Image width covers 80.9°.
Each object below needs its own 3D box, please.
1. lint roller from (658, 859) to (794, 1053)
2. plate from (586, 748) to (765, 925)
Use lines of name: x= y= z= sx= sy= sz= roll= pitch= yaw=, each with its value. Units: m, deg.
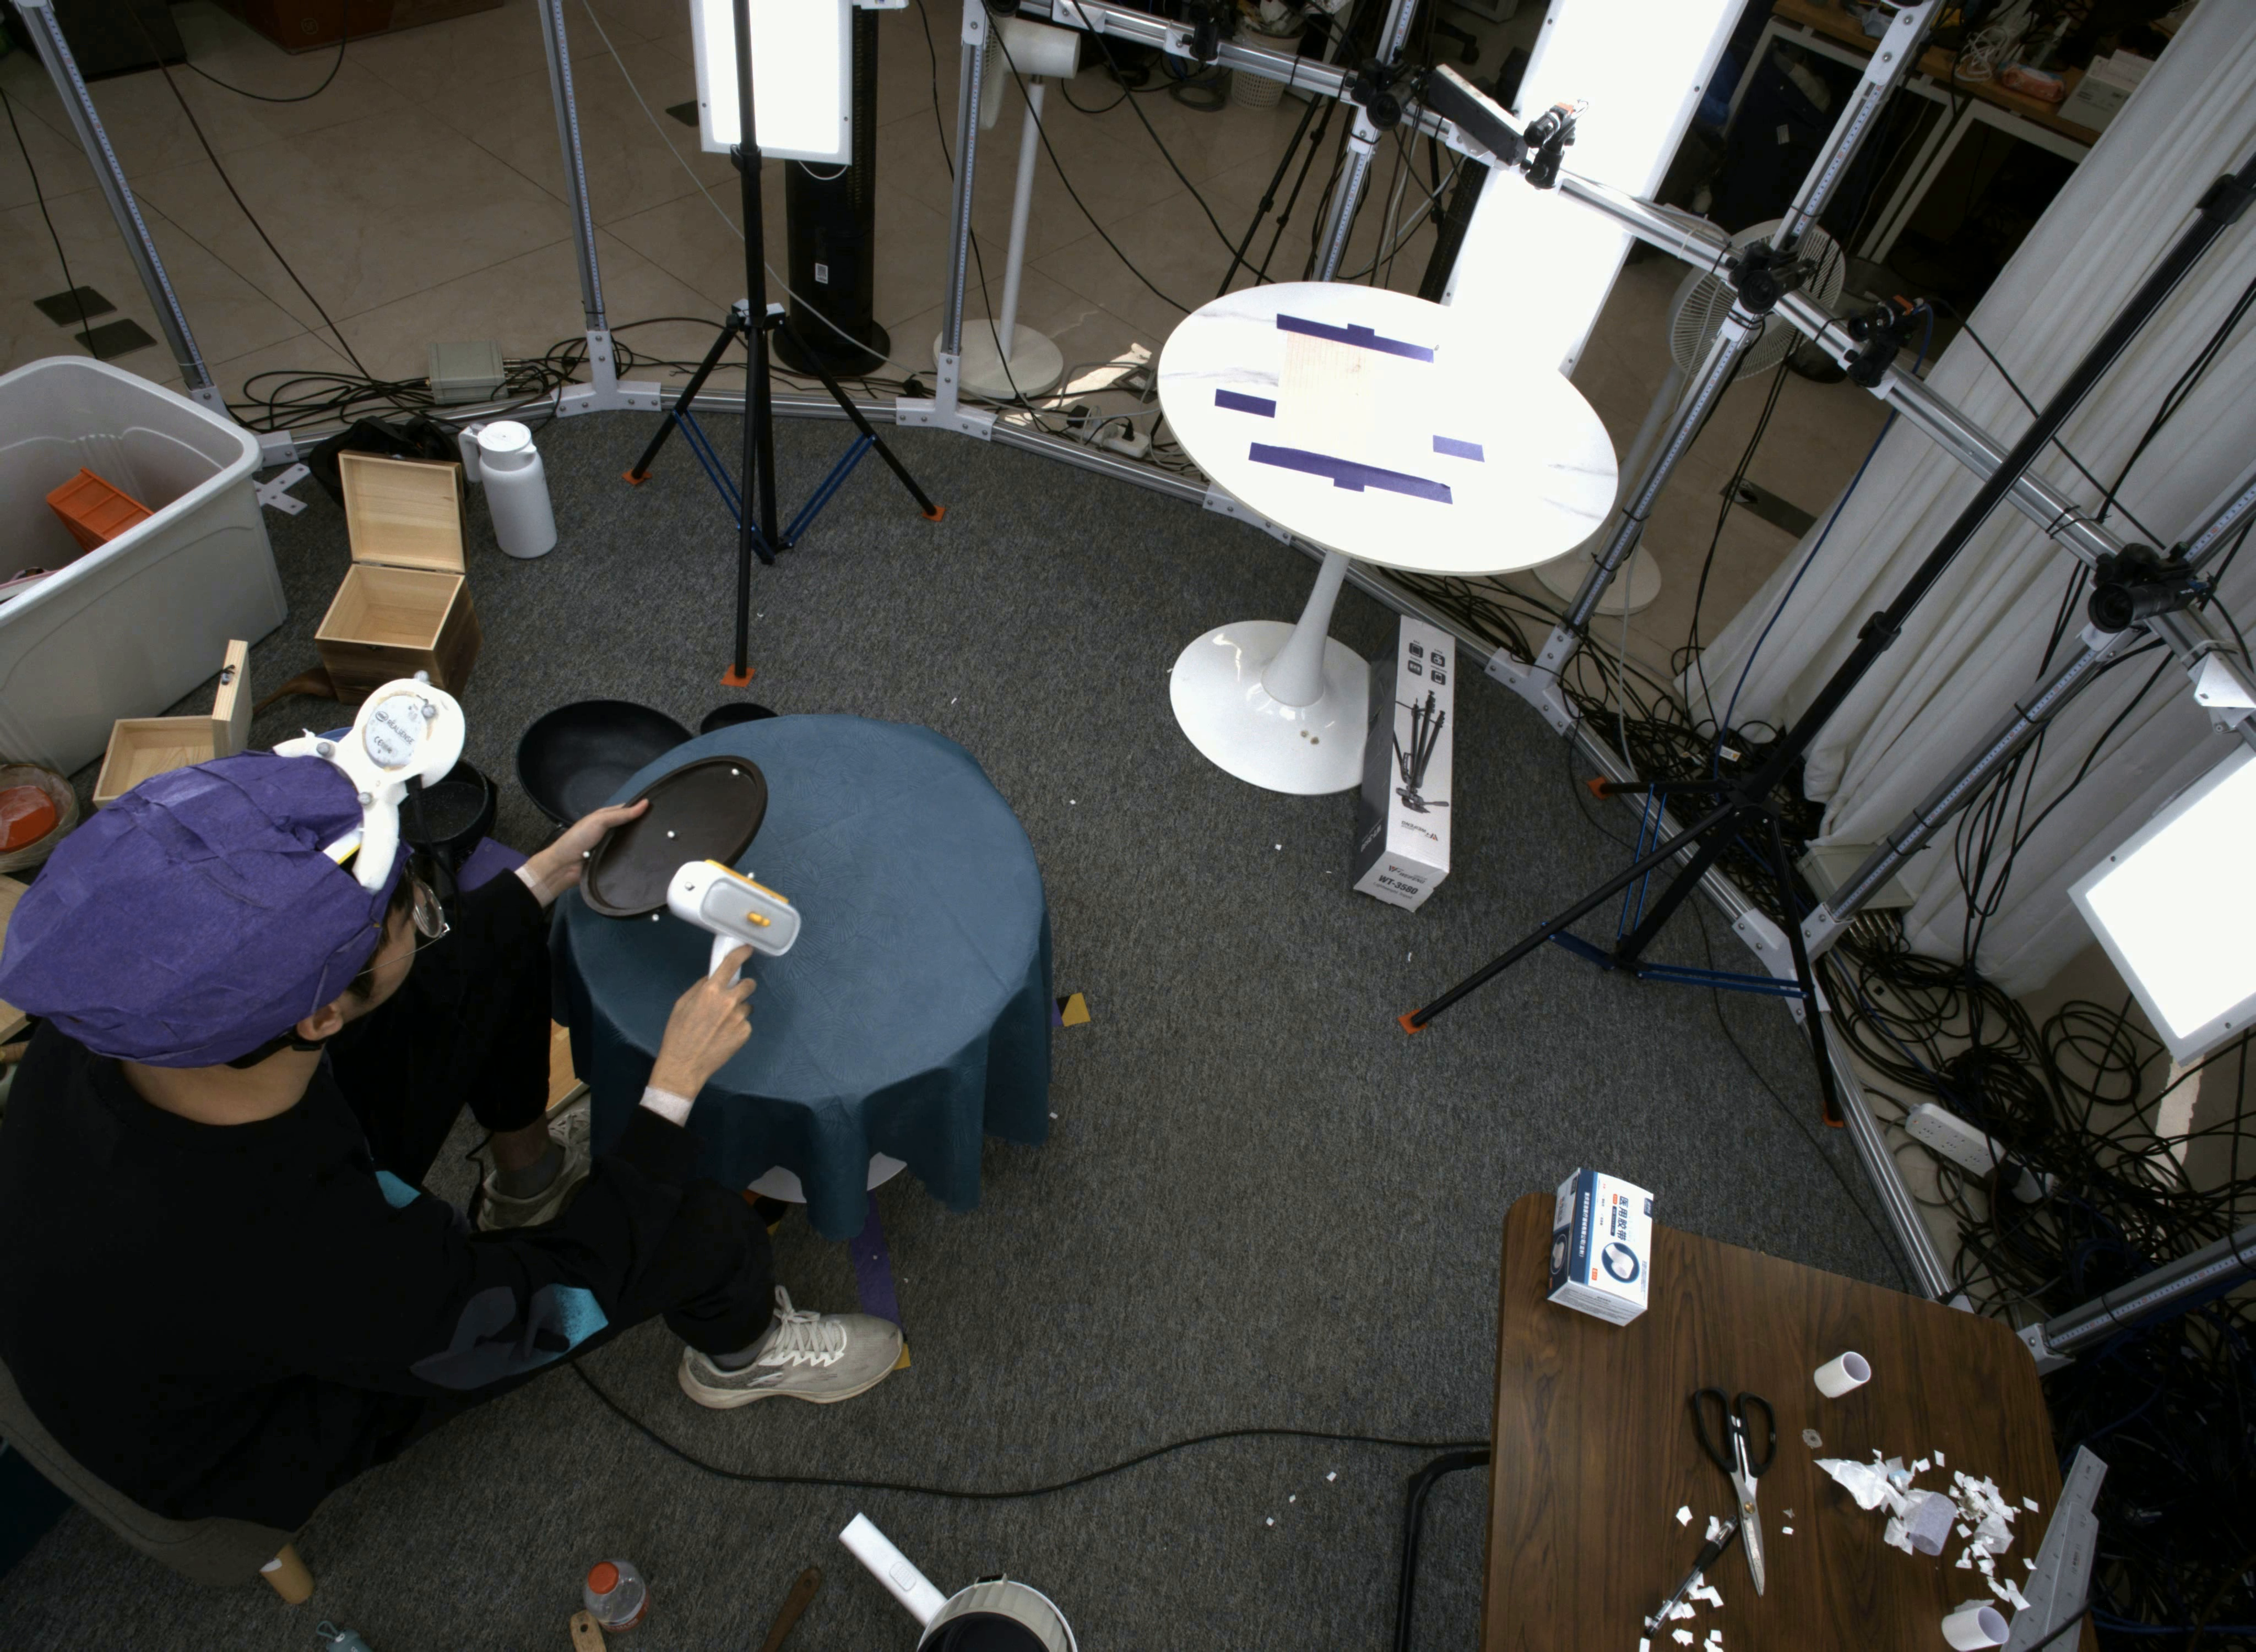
lint roller: x=-0.450 y=0.148 z=1.427 sx=0.072 sy=0.198 sz=0.193 roll=9 pitch=77 yaw=19
plate: x=-0.534 y=0.011 z=1.517 sx=0.250 sy=0.030 sz=0.250 roll=-15 pitch=46 yaw=17
